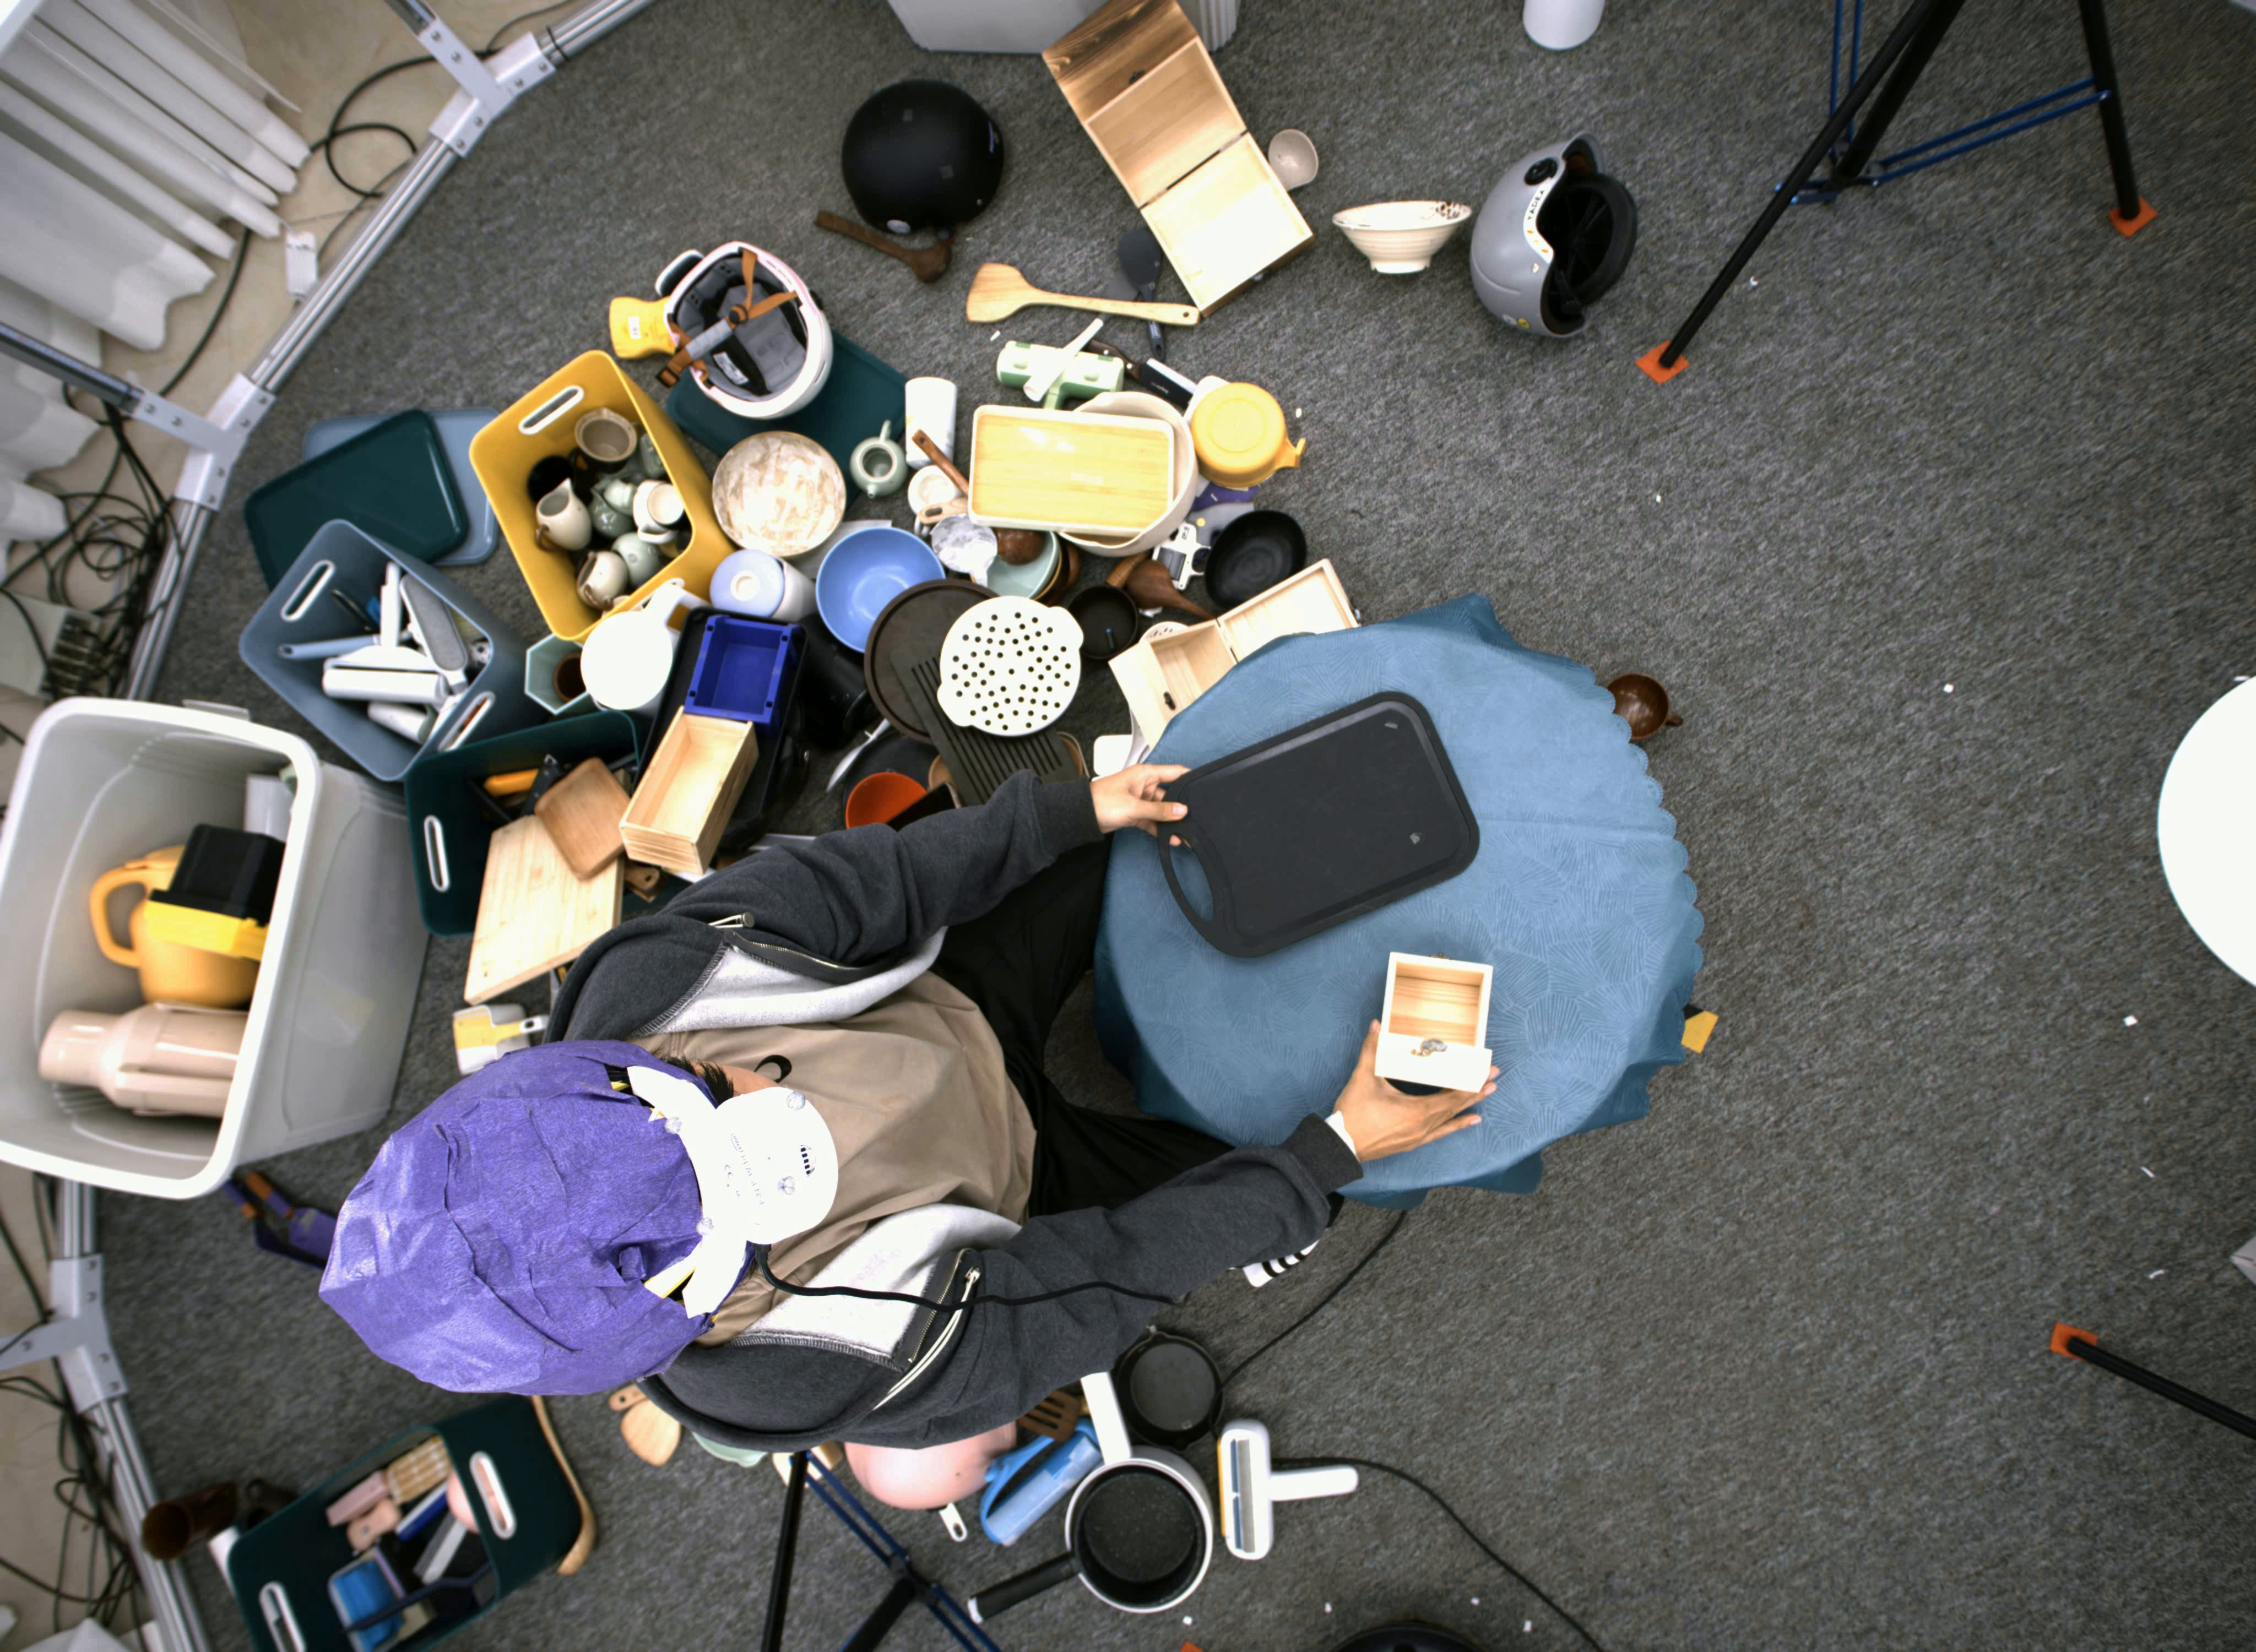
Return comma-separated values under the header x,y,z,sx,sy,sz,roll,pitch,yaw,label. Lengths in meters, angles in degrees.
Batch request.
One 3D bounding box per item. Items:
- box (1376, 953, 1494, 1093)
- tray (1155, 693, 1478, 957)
x,y,z,sx,sy,sz,roll,pitch,yaw,label
0.299,0.184,1.340,0.103,0.186,0.132,6,77,12,box
0.192,0.001,1.451,0.326,0.010,0.210,-22,87,2,tray
